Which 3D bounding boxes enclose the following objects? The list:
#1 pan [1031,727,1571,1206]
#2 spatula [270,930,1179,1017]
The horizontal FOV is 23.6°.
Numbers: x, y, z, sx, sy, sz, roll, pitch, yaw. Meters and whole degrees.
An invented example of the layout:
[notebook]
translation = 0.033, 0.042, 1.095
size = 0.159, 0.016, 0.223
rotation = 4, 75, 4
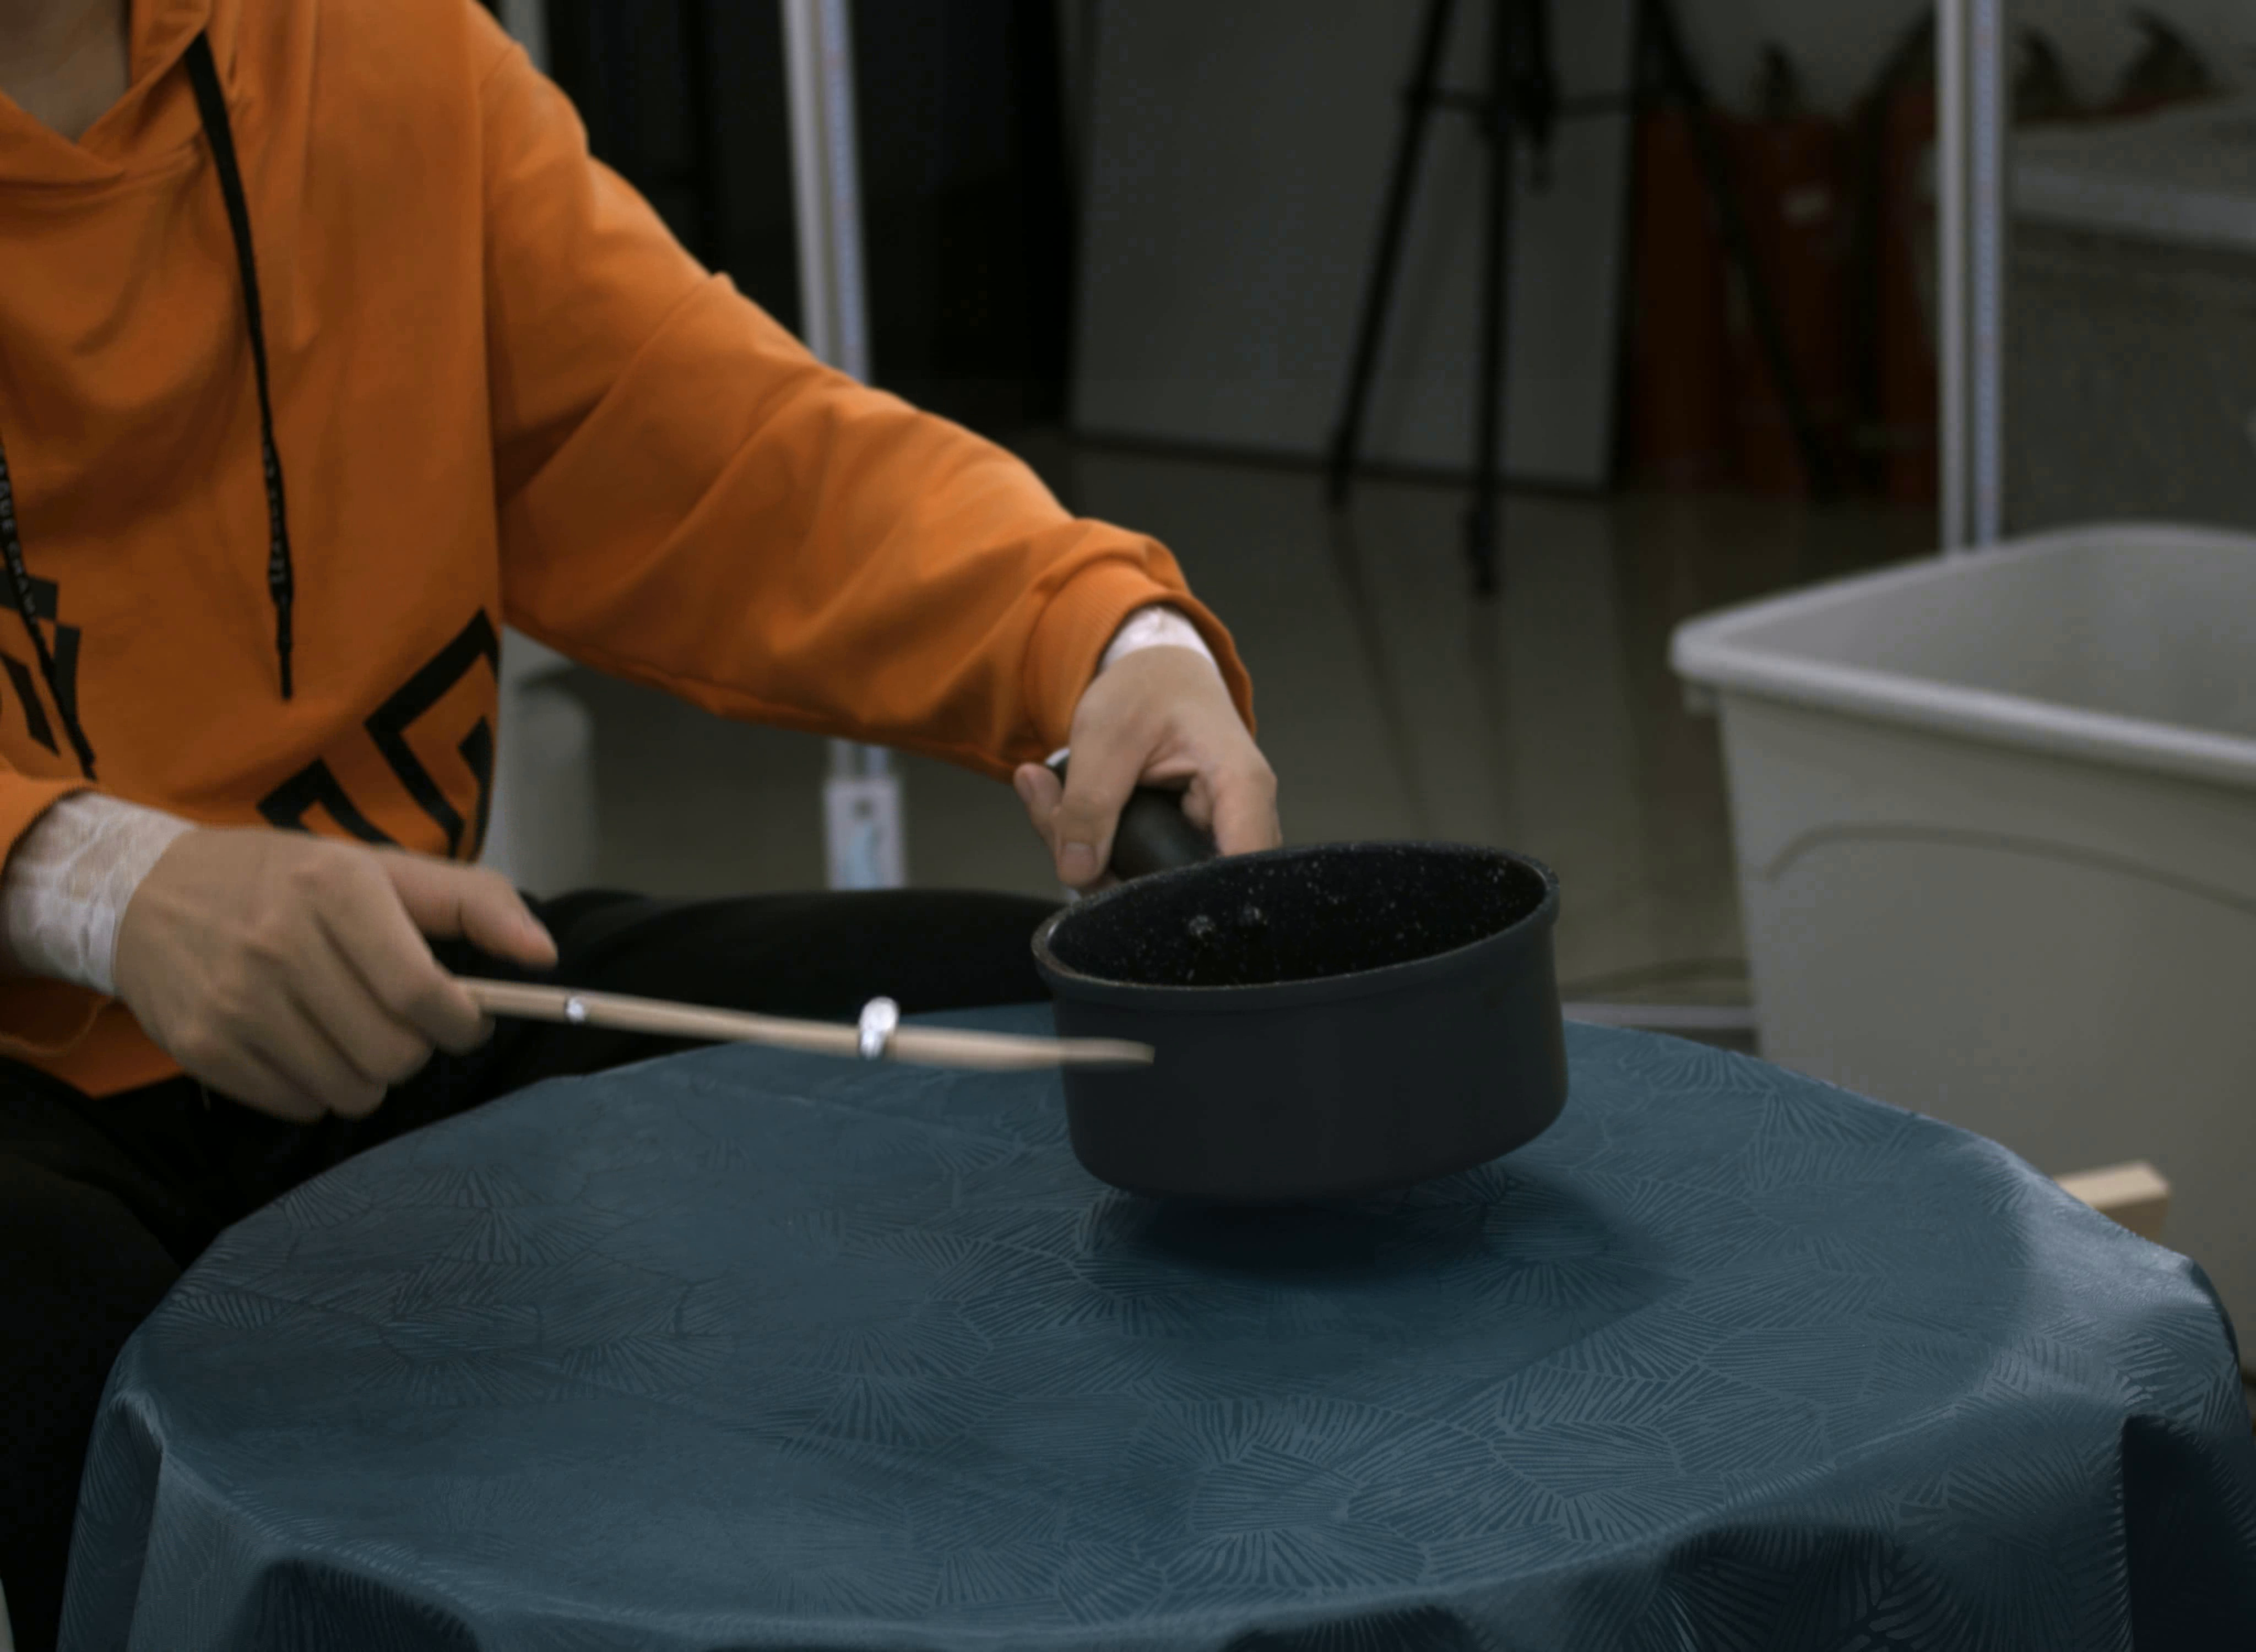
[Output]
[pan]
translation = 0.038, 0.042, 1.800
size = 0.169, 0.087, 0.331
rotation = -10, 15, -12
[spatula]
translation = -0.129, 0.042, 1.633
size = 0.293, 0.011, 0.071
rotation = 2, -13, 22
